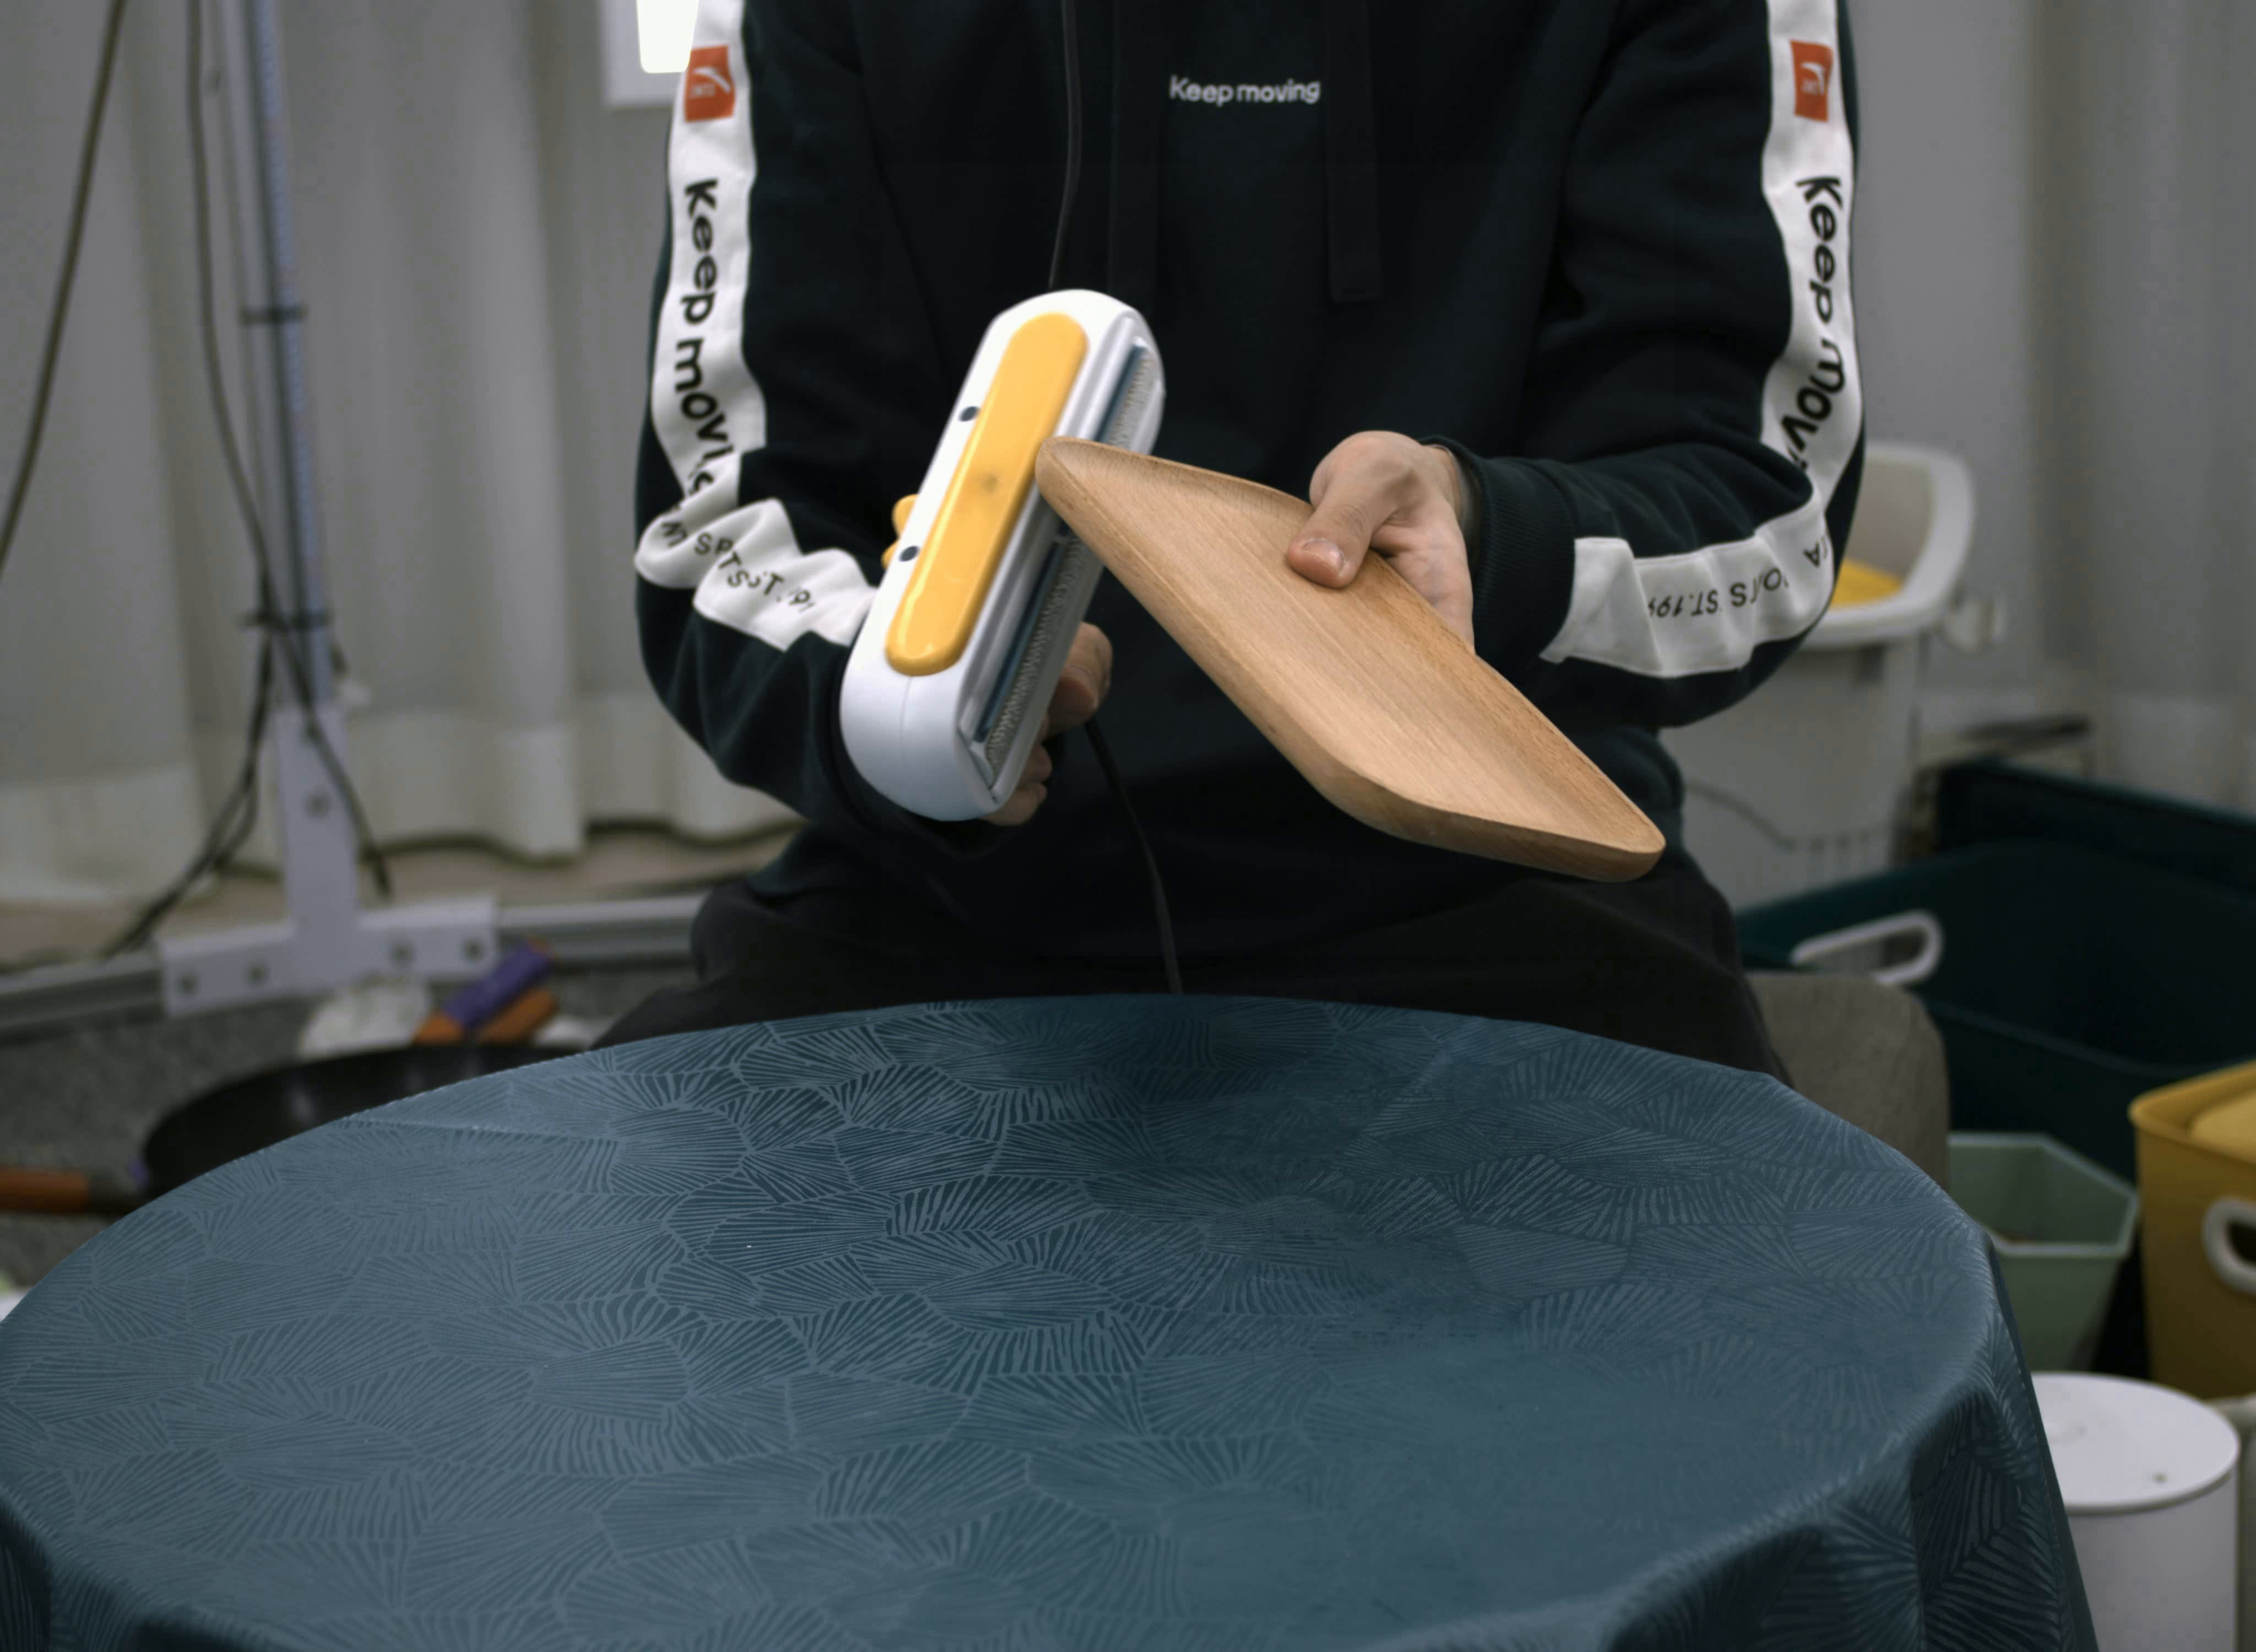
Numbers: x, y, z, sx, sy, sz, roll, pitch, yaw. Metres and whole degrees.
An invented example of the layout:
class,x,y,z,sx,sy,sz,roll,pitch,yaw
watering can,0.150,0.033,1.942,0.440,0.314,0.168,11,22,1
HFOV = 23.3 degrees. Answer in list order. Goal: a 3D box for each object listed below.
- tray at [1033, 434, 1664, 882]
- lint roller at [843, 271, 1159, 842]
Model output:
class,x,y,z,sx,sy,sz,roll,pitch,yaw
tray,0.064,-0.054,1.697,0.129,0.023,0.254,15,20,-33
lint roller,-0.038,-0.062,1.839,0.074,0.190,0.195,6,54,15
